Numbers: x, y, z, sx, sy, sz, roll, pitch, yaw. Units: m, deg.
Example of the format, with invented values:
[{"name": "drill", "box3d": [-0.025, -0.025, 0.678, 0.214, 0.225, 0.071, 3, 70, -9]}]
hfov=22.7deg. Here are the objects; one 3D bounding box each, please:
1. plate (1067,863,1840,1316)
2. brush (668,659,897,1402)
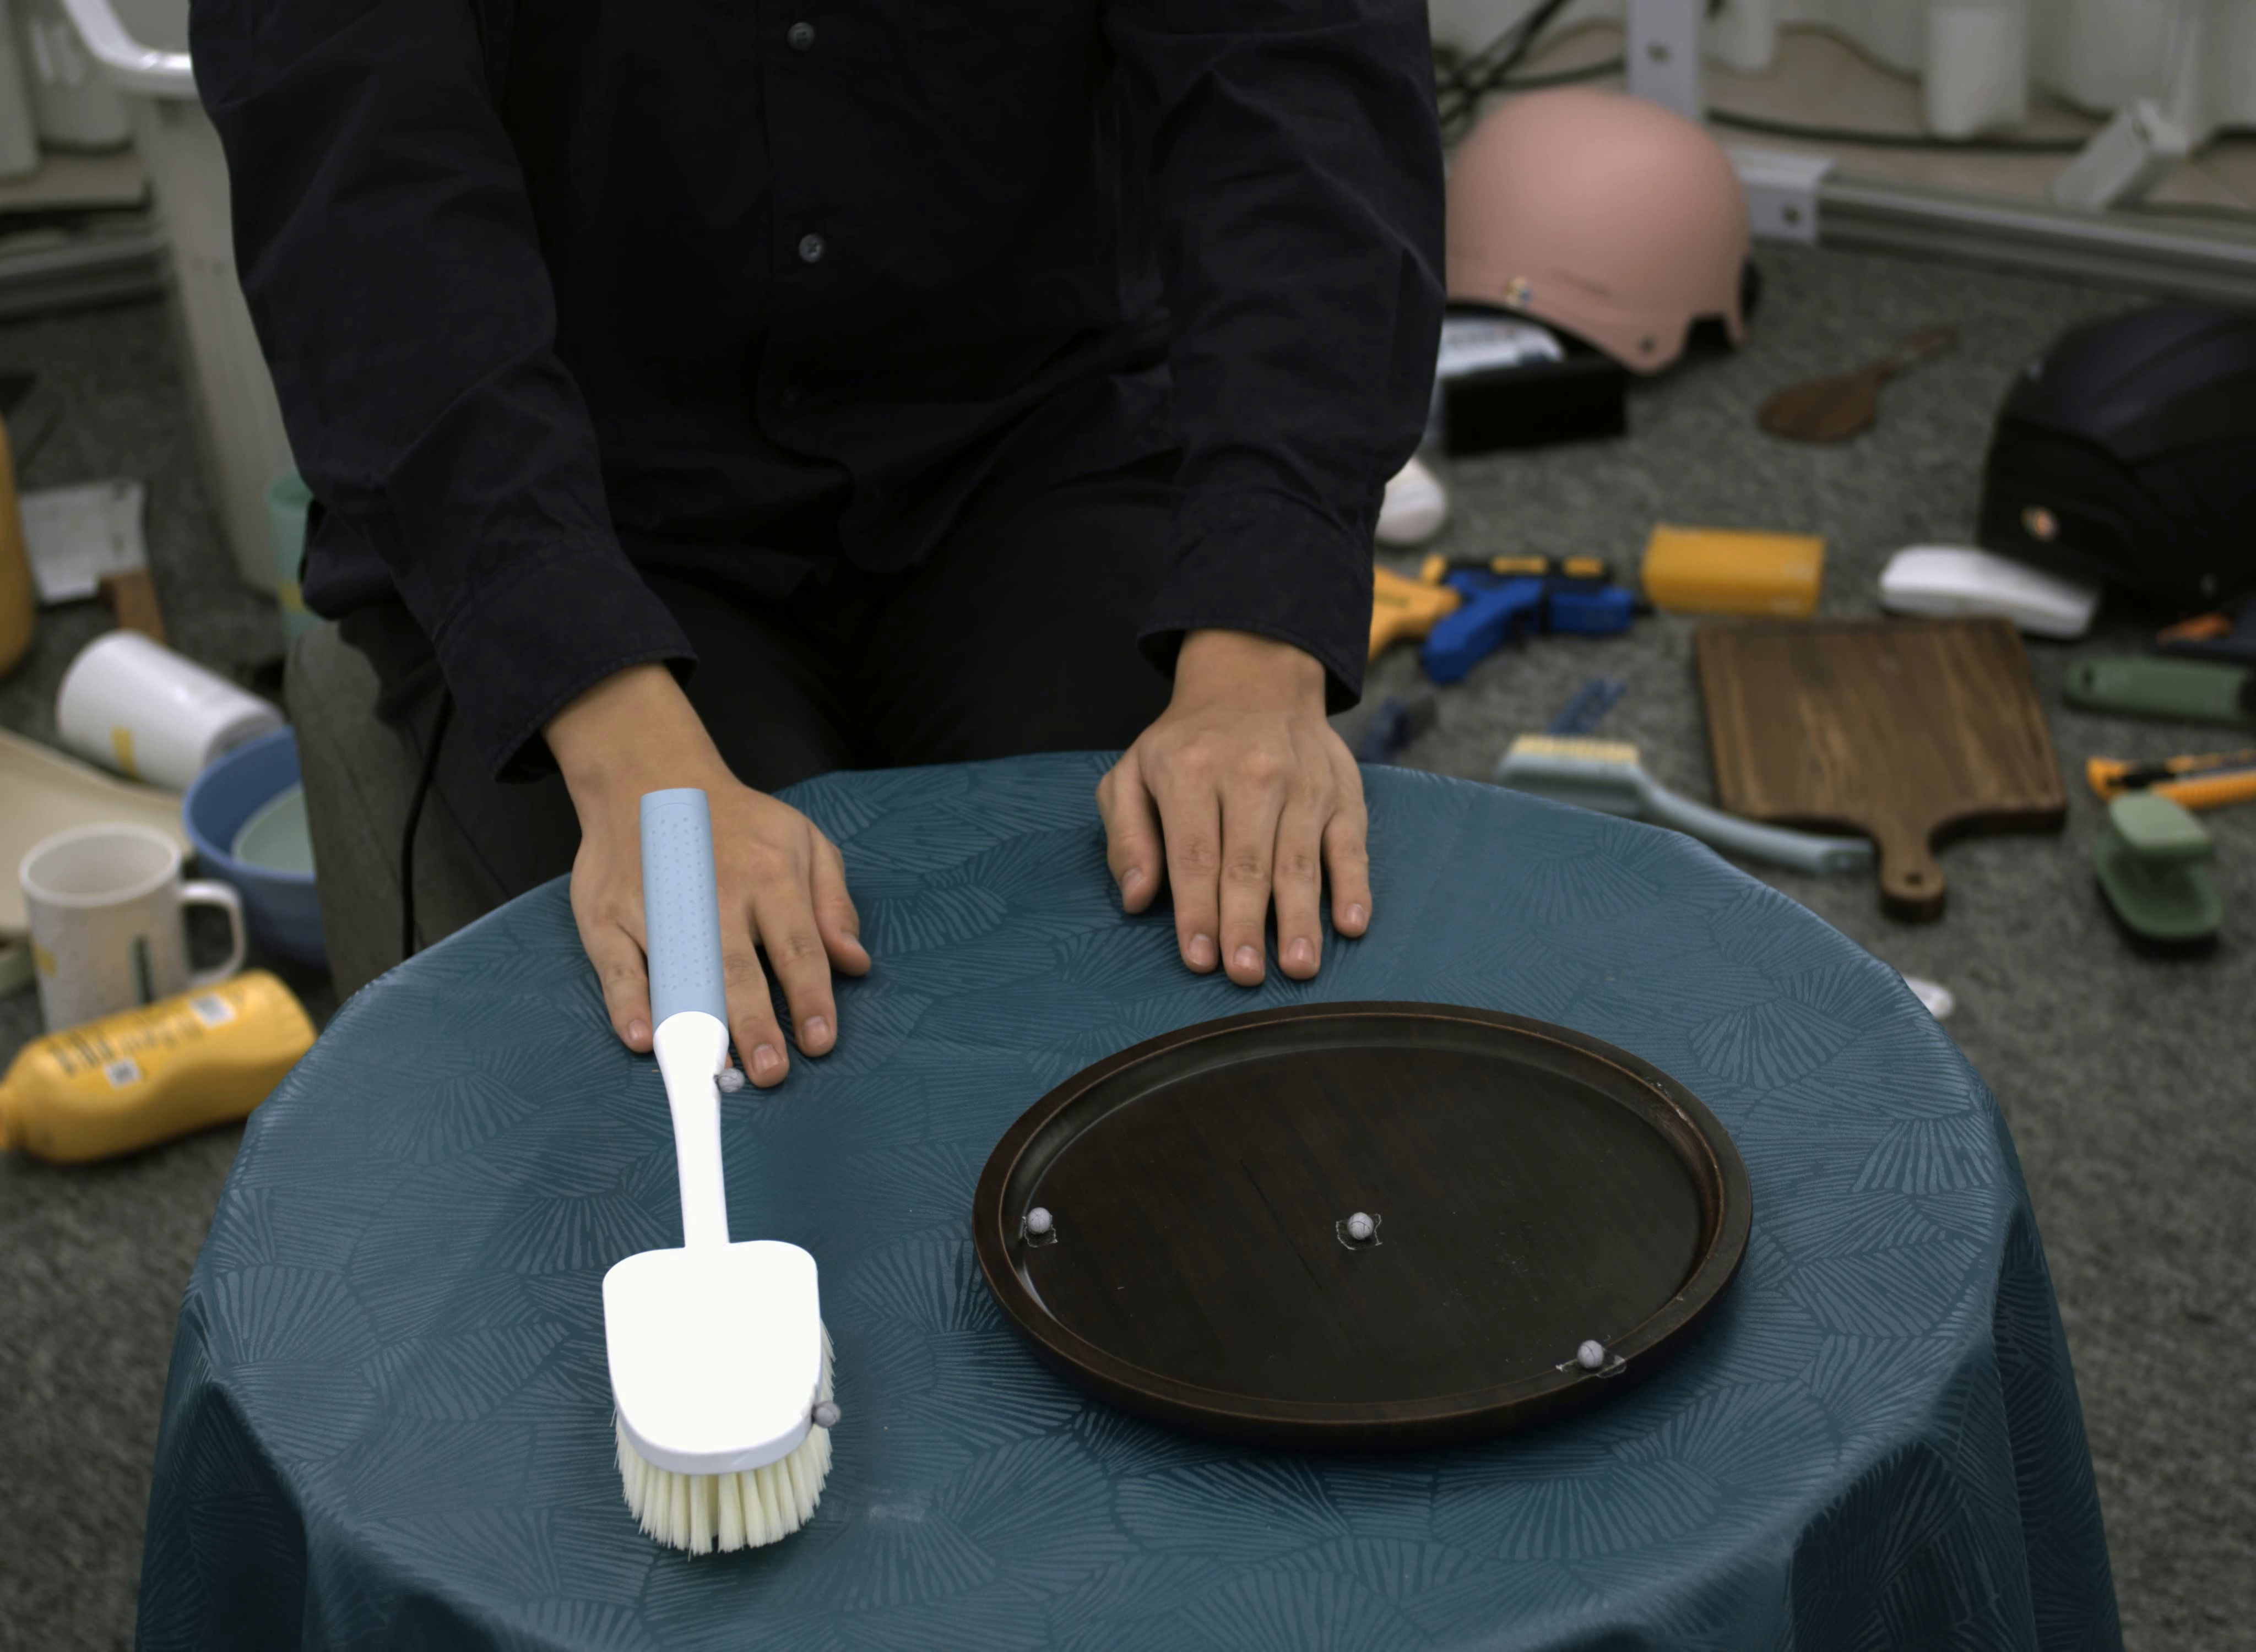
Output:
[{"name": "plate", "box3d": [0.106, 0.085, 1.838, 0.253, 0.029, 0.259, -4, 29, 2]}, {"name": "brush", "box3d": [-0.112, 0.073, 1.822, 0.083, 0.083, 0.331, 27, 31, -25]}]
